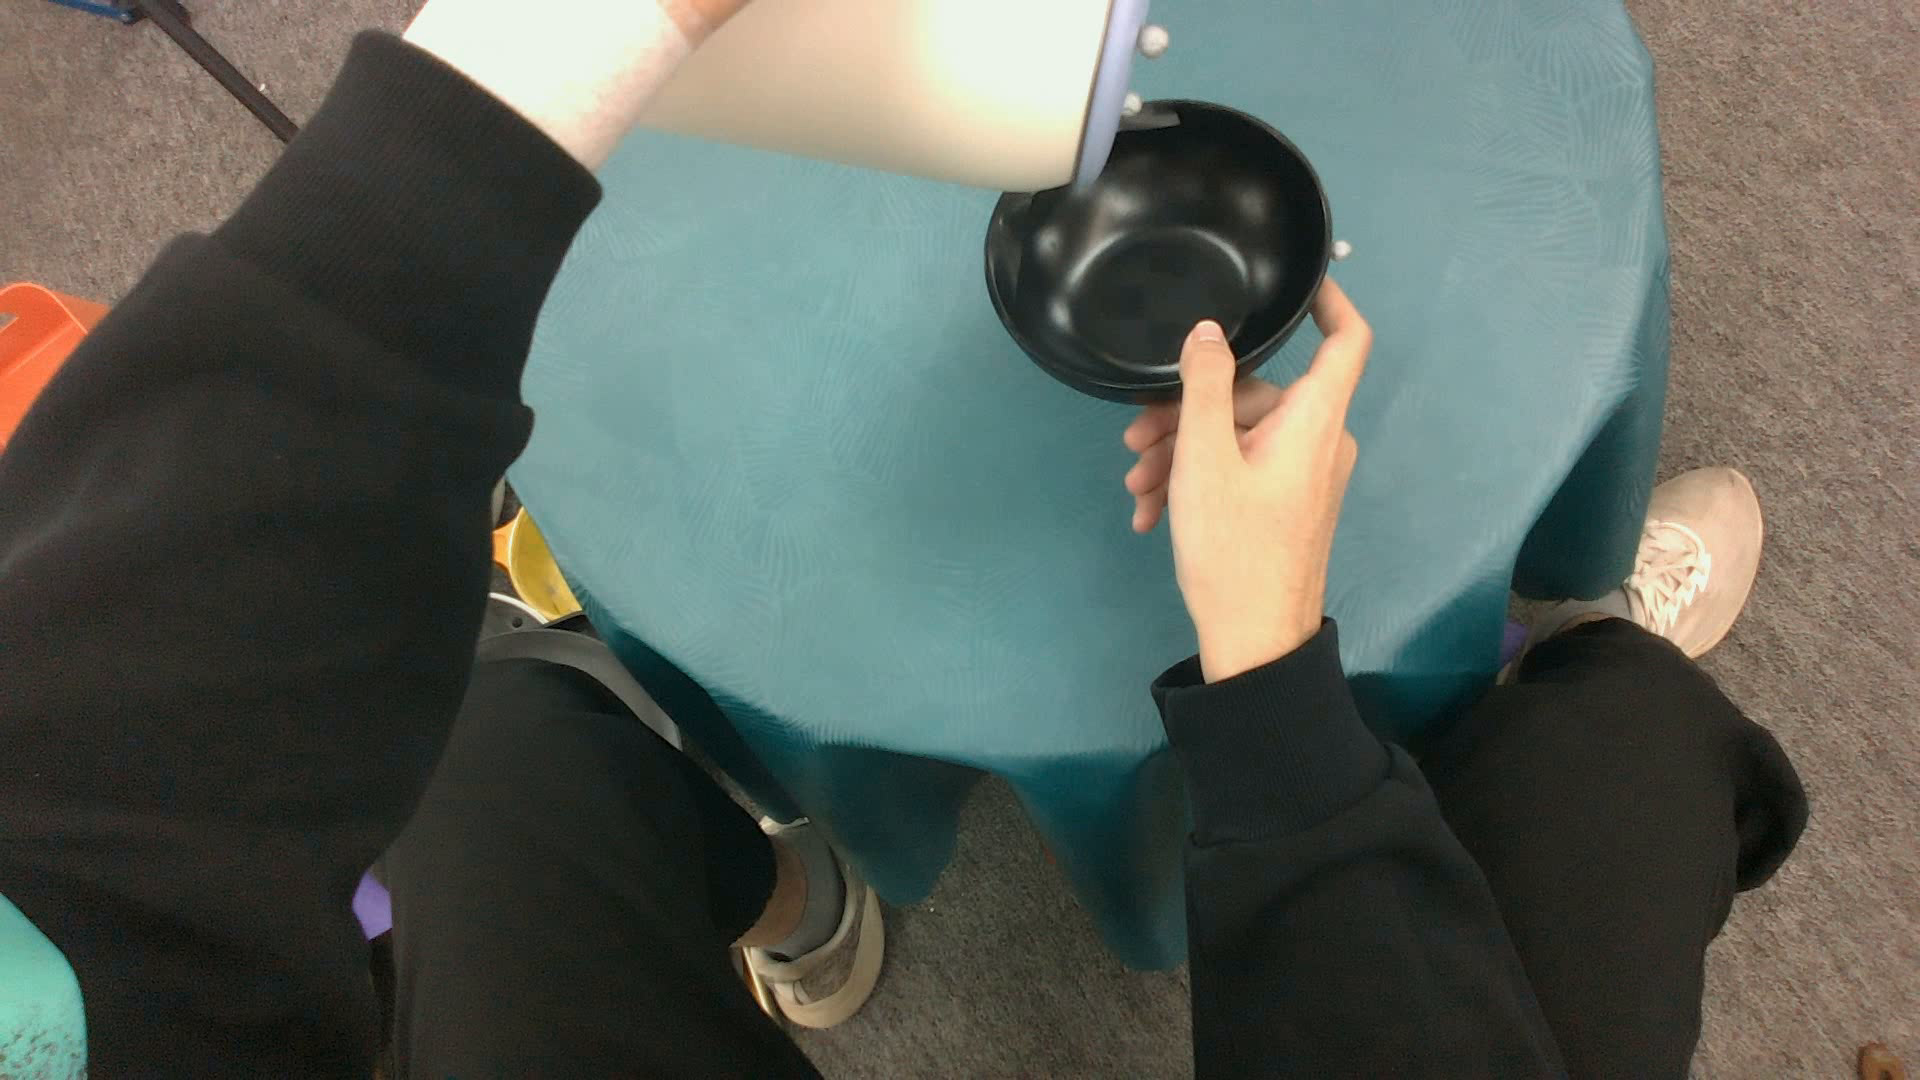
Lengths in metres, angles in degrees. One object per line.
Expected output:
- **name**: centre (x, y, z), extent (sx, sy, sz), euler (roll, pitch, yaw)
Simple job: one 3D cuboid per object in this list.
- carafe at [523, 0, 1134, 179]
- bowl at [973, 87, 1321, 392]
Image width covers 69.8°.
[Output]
- **carafe**: centre (-0.036, -0.192, 0.409), extent (0.182, 0.191, 0.132), euler (8, 80, 5)
- **bowl**: centre (0.078, -0.117, 0.573), extent (0.140, 0.049, 0.140), euler (-4, 68, 10)
